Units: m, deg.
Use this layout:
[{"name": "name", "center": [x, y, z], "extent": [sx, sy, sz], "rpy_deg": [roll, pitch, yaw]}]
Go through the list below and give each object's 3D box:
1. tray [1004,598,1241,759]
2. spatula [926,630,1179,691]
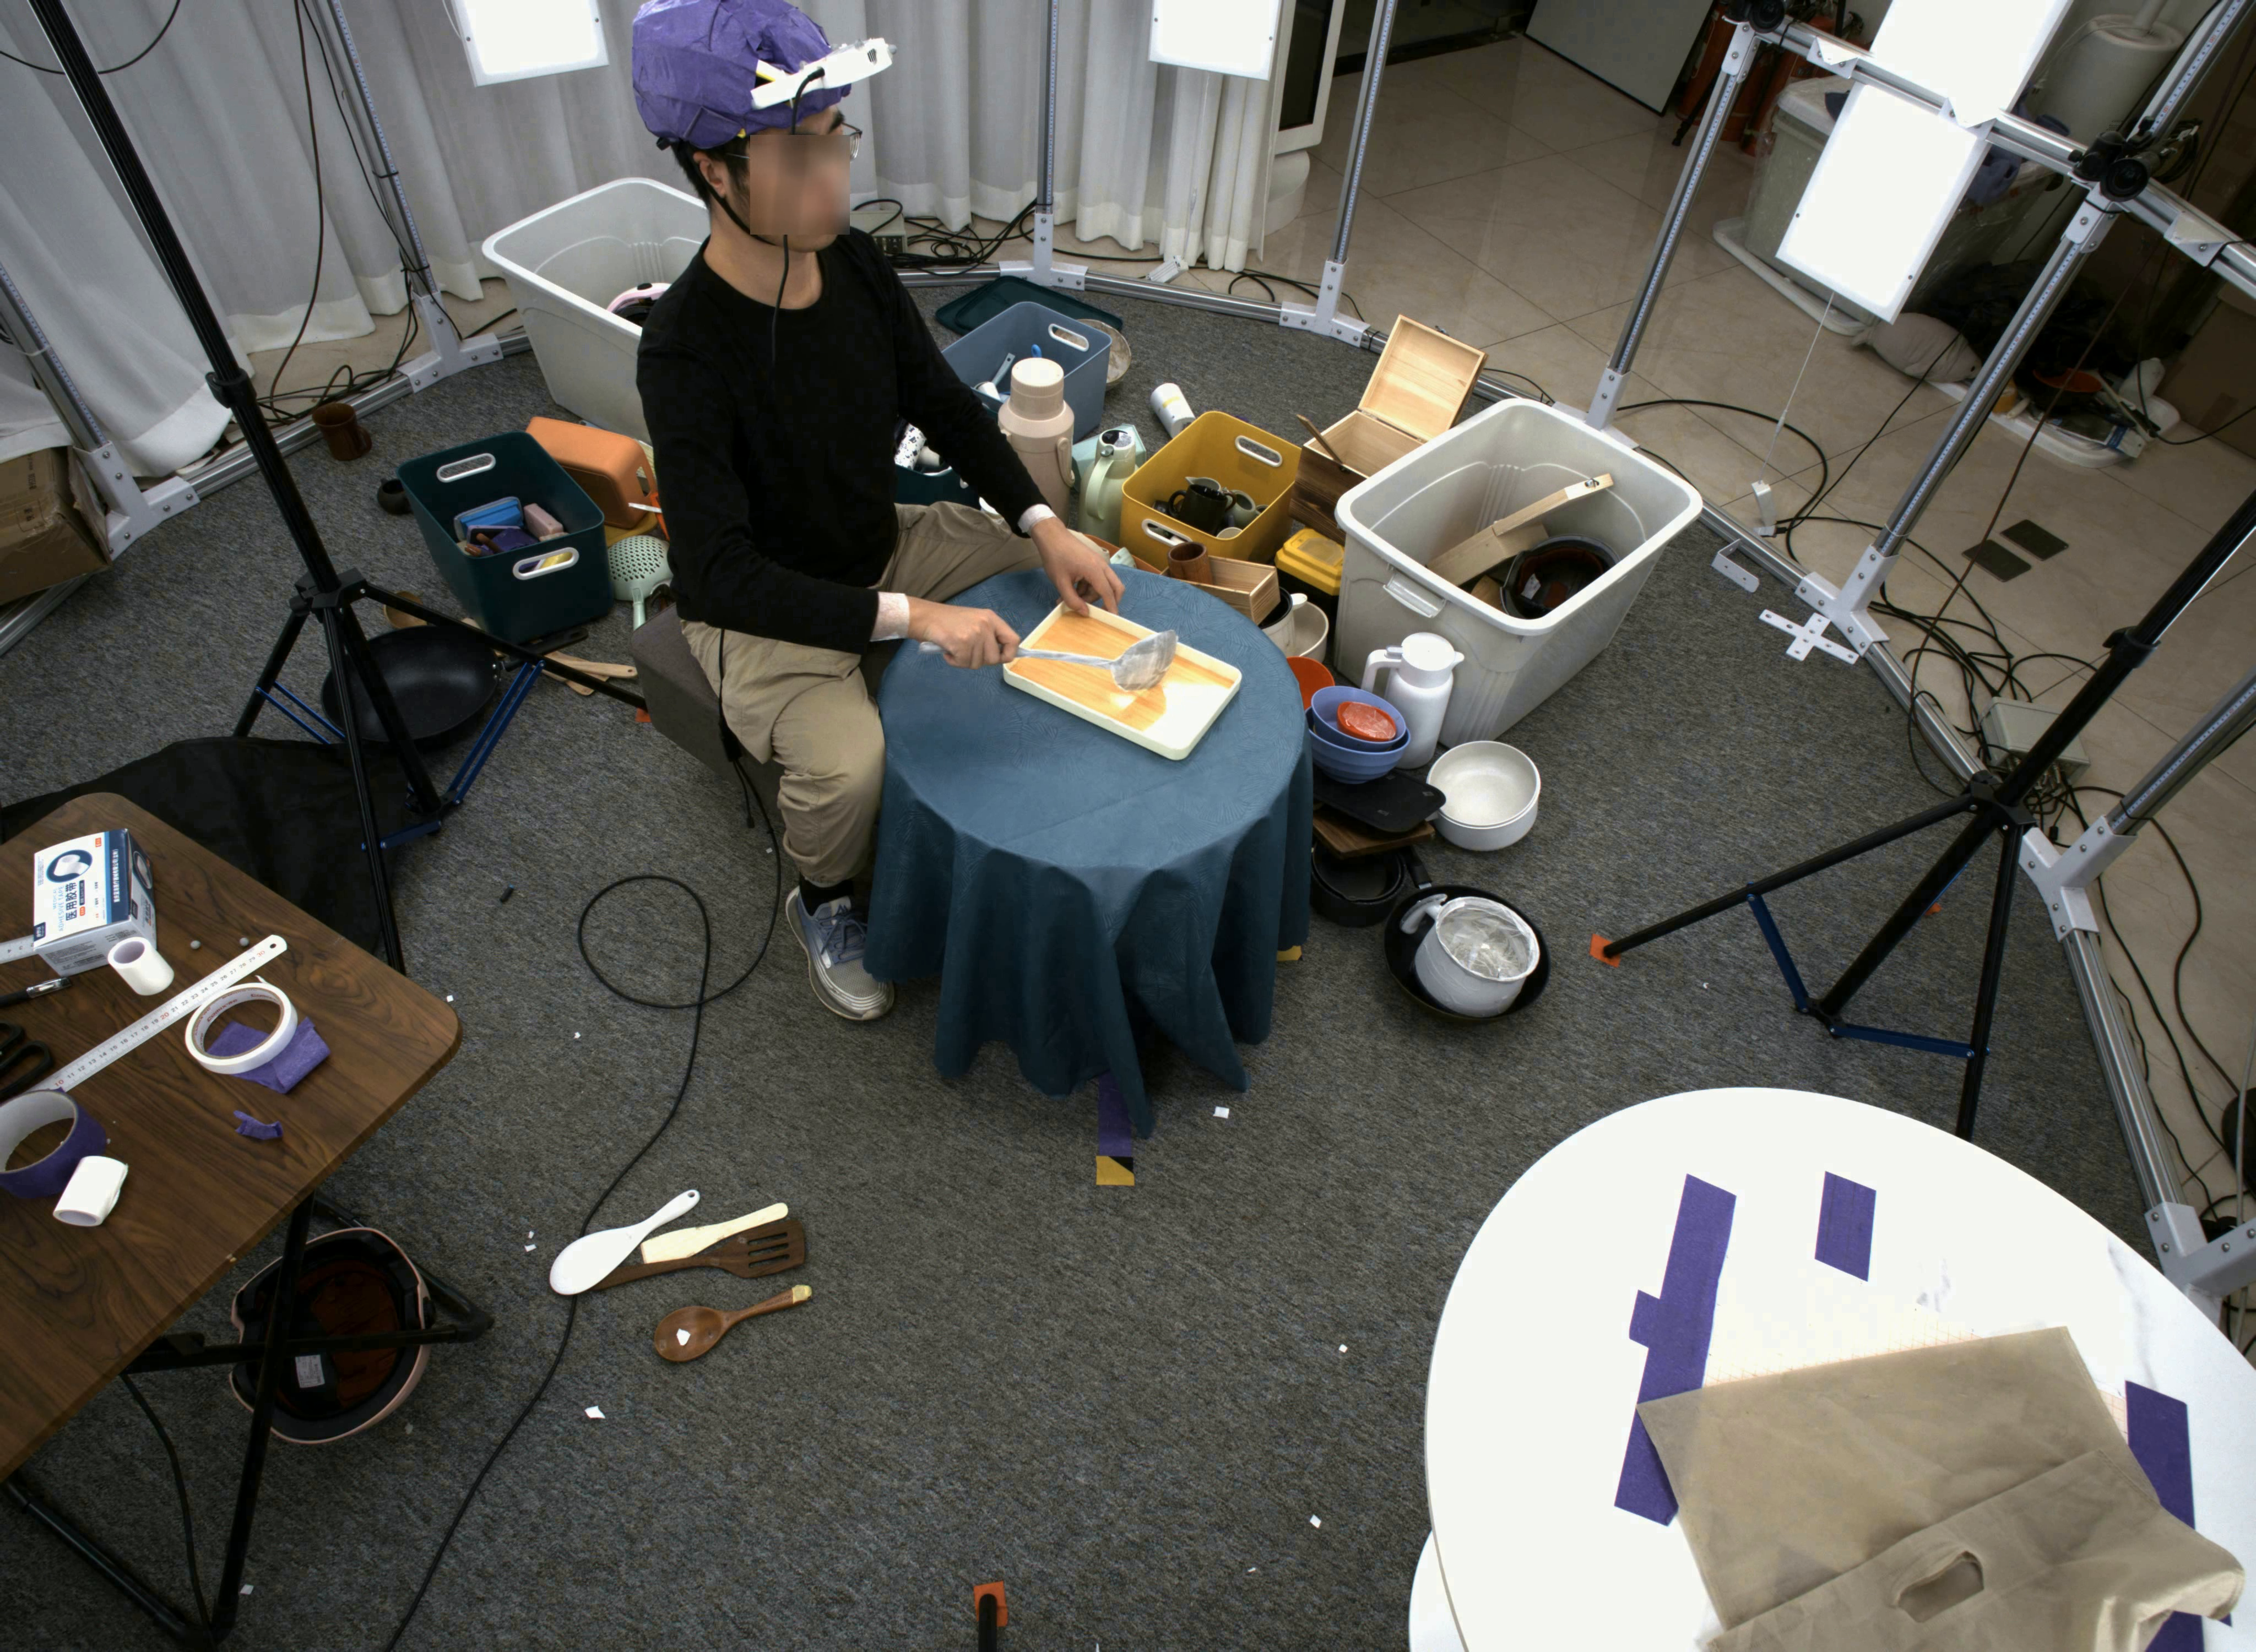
[{"name": "tray", "center": [-0.008, -0.216, 1.839], "extent": [0.303, 0.027, 0.194], "rpy_deg": [26, 53, 18]}, {"name": "spatula", "center": [-0.095, -0.233, 1.743], "extent": [0.363, 0.097, 0.046], "rpy_deg": [3, 39, -22]}]
